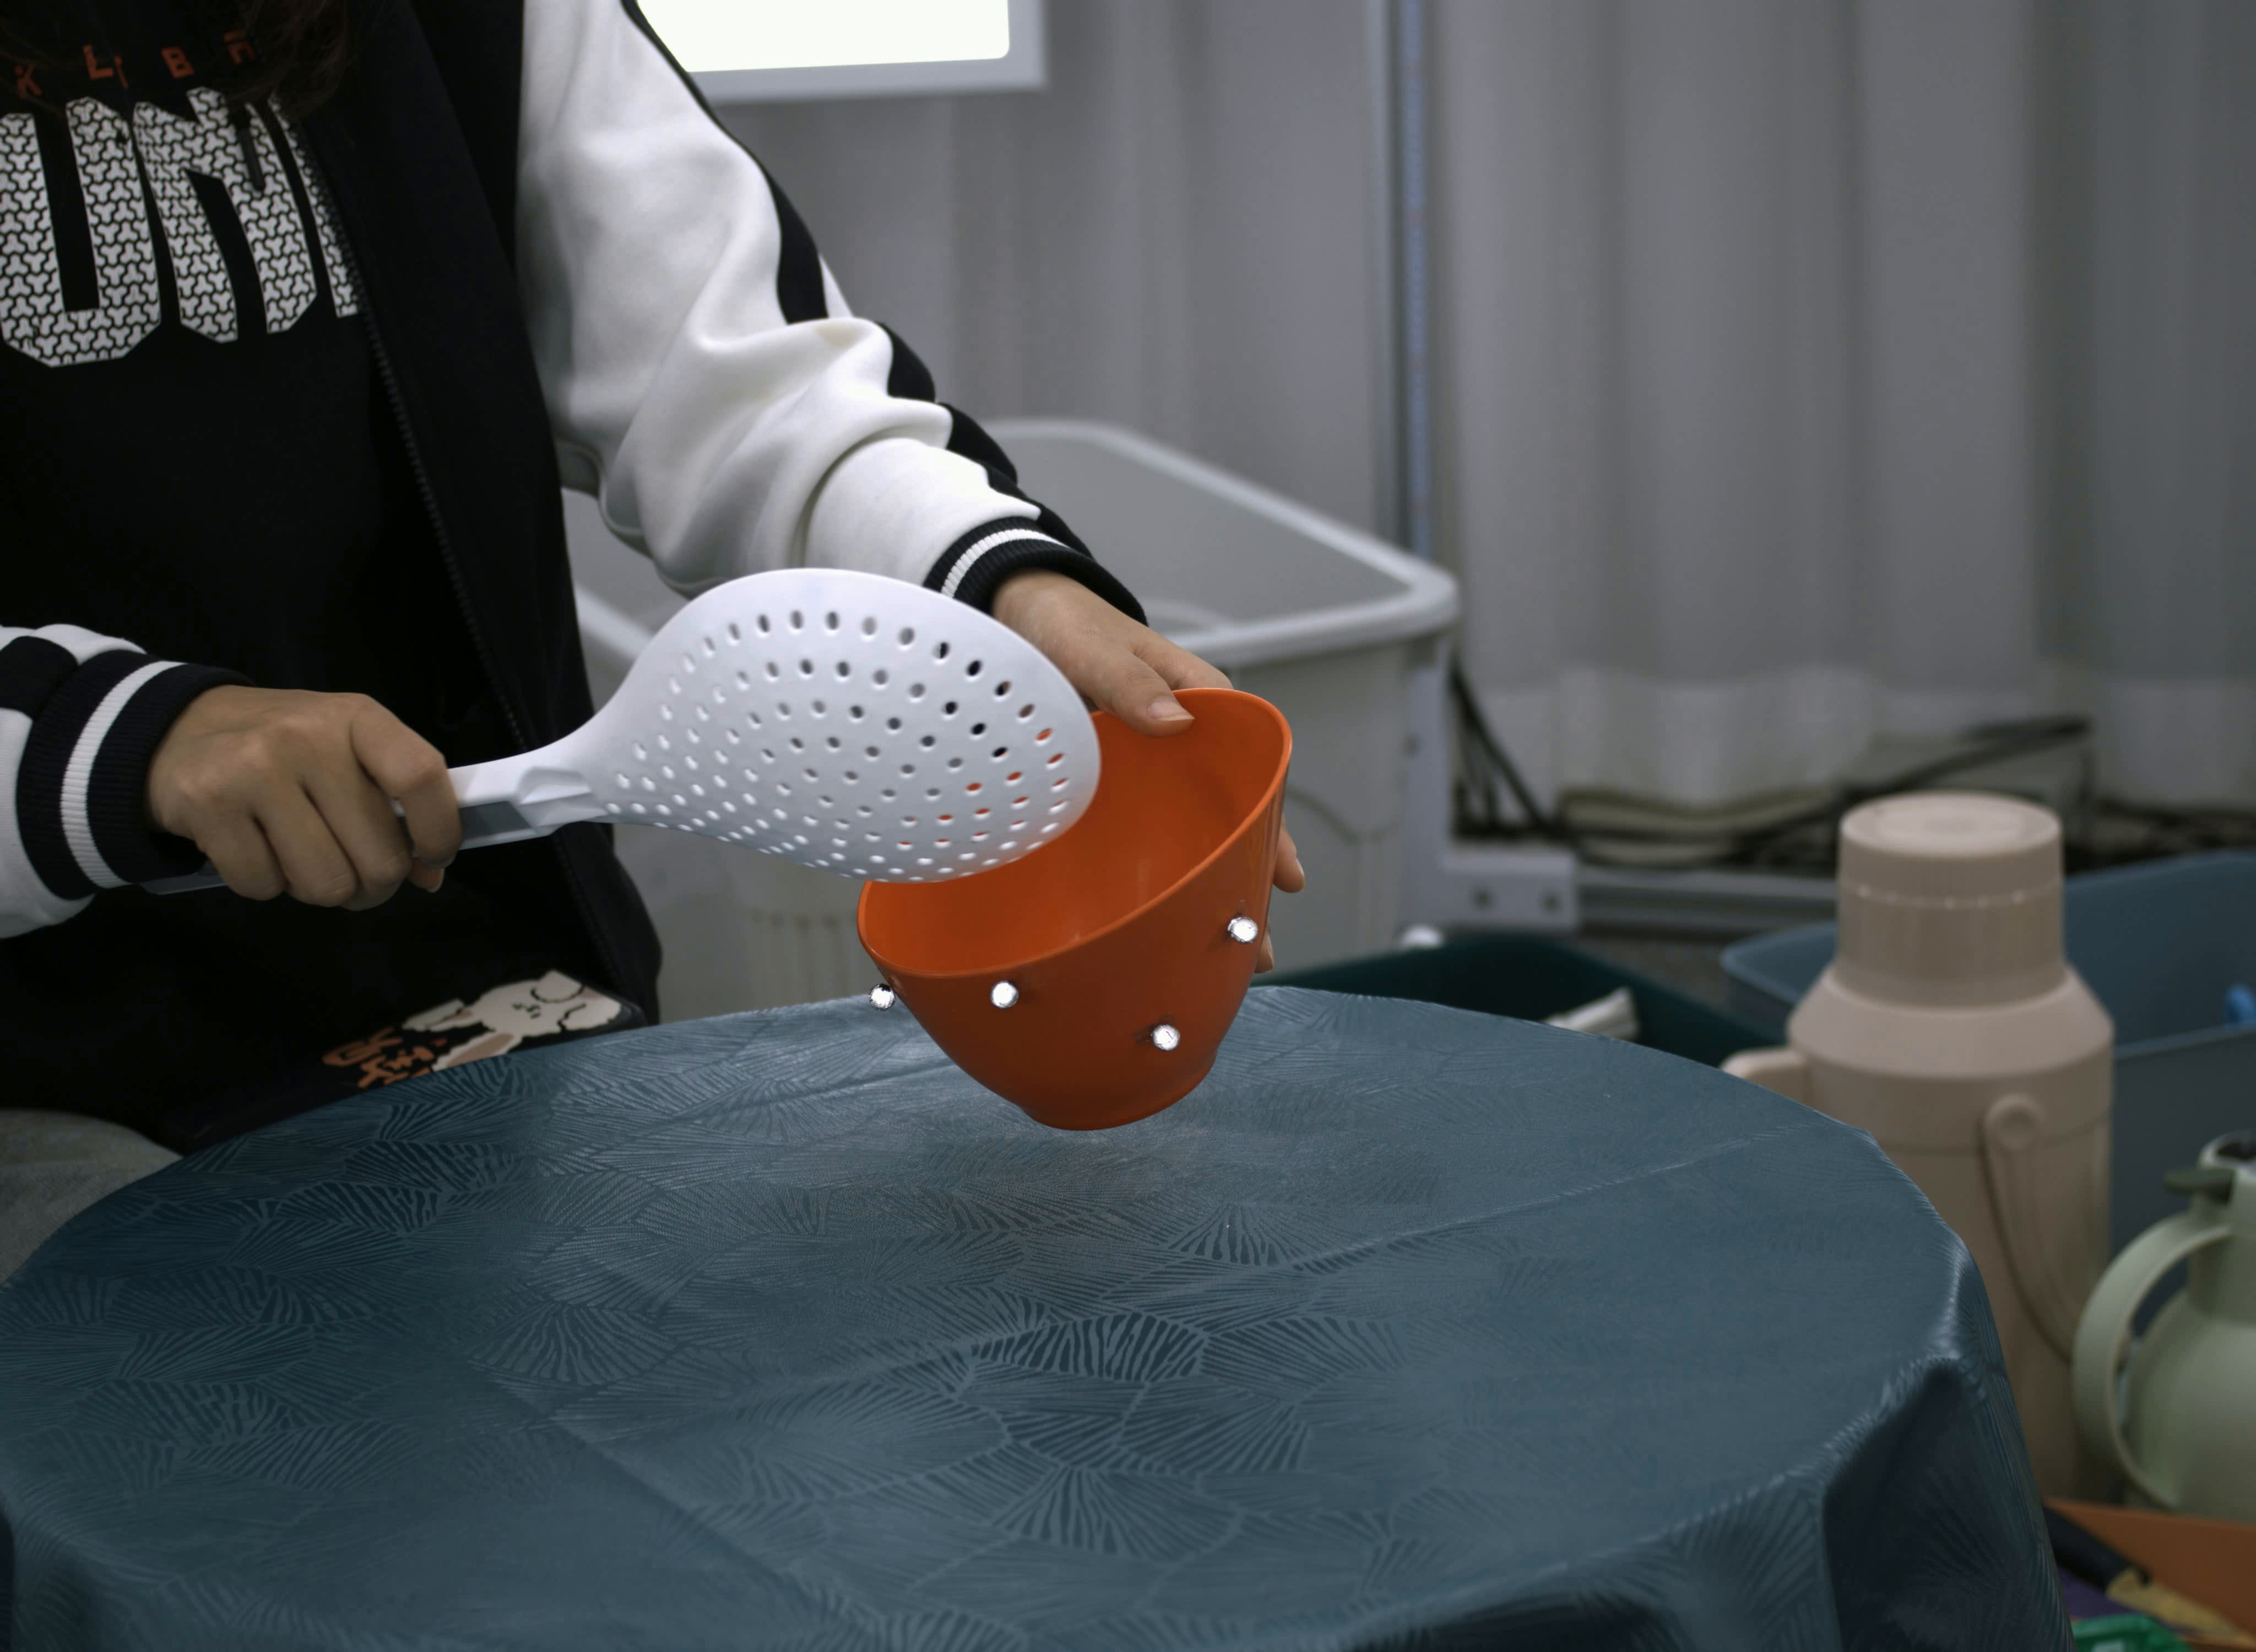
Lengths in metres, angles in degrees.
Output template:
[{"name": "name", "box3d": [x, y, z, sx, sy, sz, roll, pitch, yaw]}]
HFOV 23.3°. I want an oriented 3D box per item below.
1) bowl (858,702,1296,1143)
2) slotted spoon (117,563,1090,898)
[{"name": "bowl", "box3d": [-0.006, 0.038, 1.709, 0.147, 0.103, 0.150, -14, 29, 8]}, {"name": "slotted spoon", "box3d": [-0.170, -0.012, 1.668, 0.350, 0.134, 0.046, -5, 48, 34]}]
